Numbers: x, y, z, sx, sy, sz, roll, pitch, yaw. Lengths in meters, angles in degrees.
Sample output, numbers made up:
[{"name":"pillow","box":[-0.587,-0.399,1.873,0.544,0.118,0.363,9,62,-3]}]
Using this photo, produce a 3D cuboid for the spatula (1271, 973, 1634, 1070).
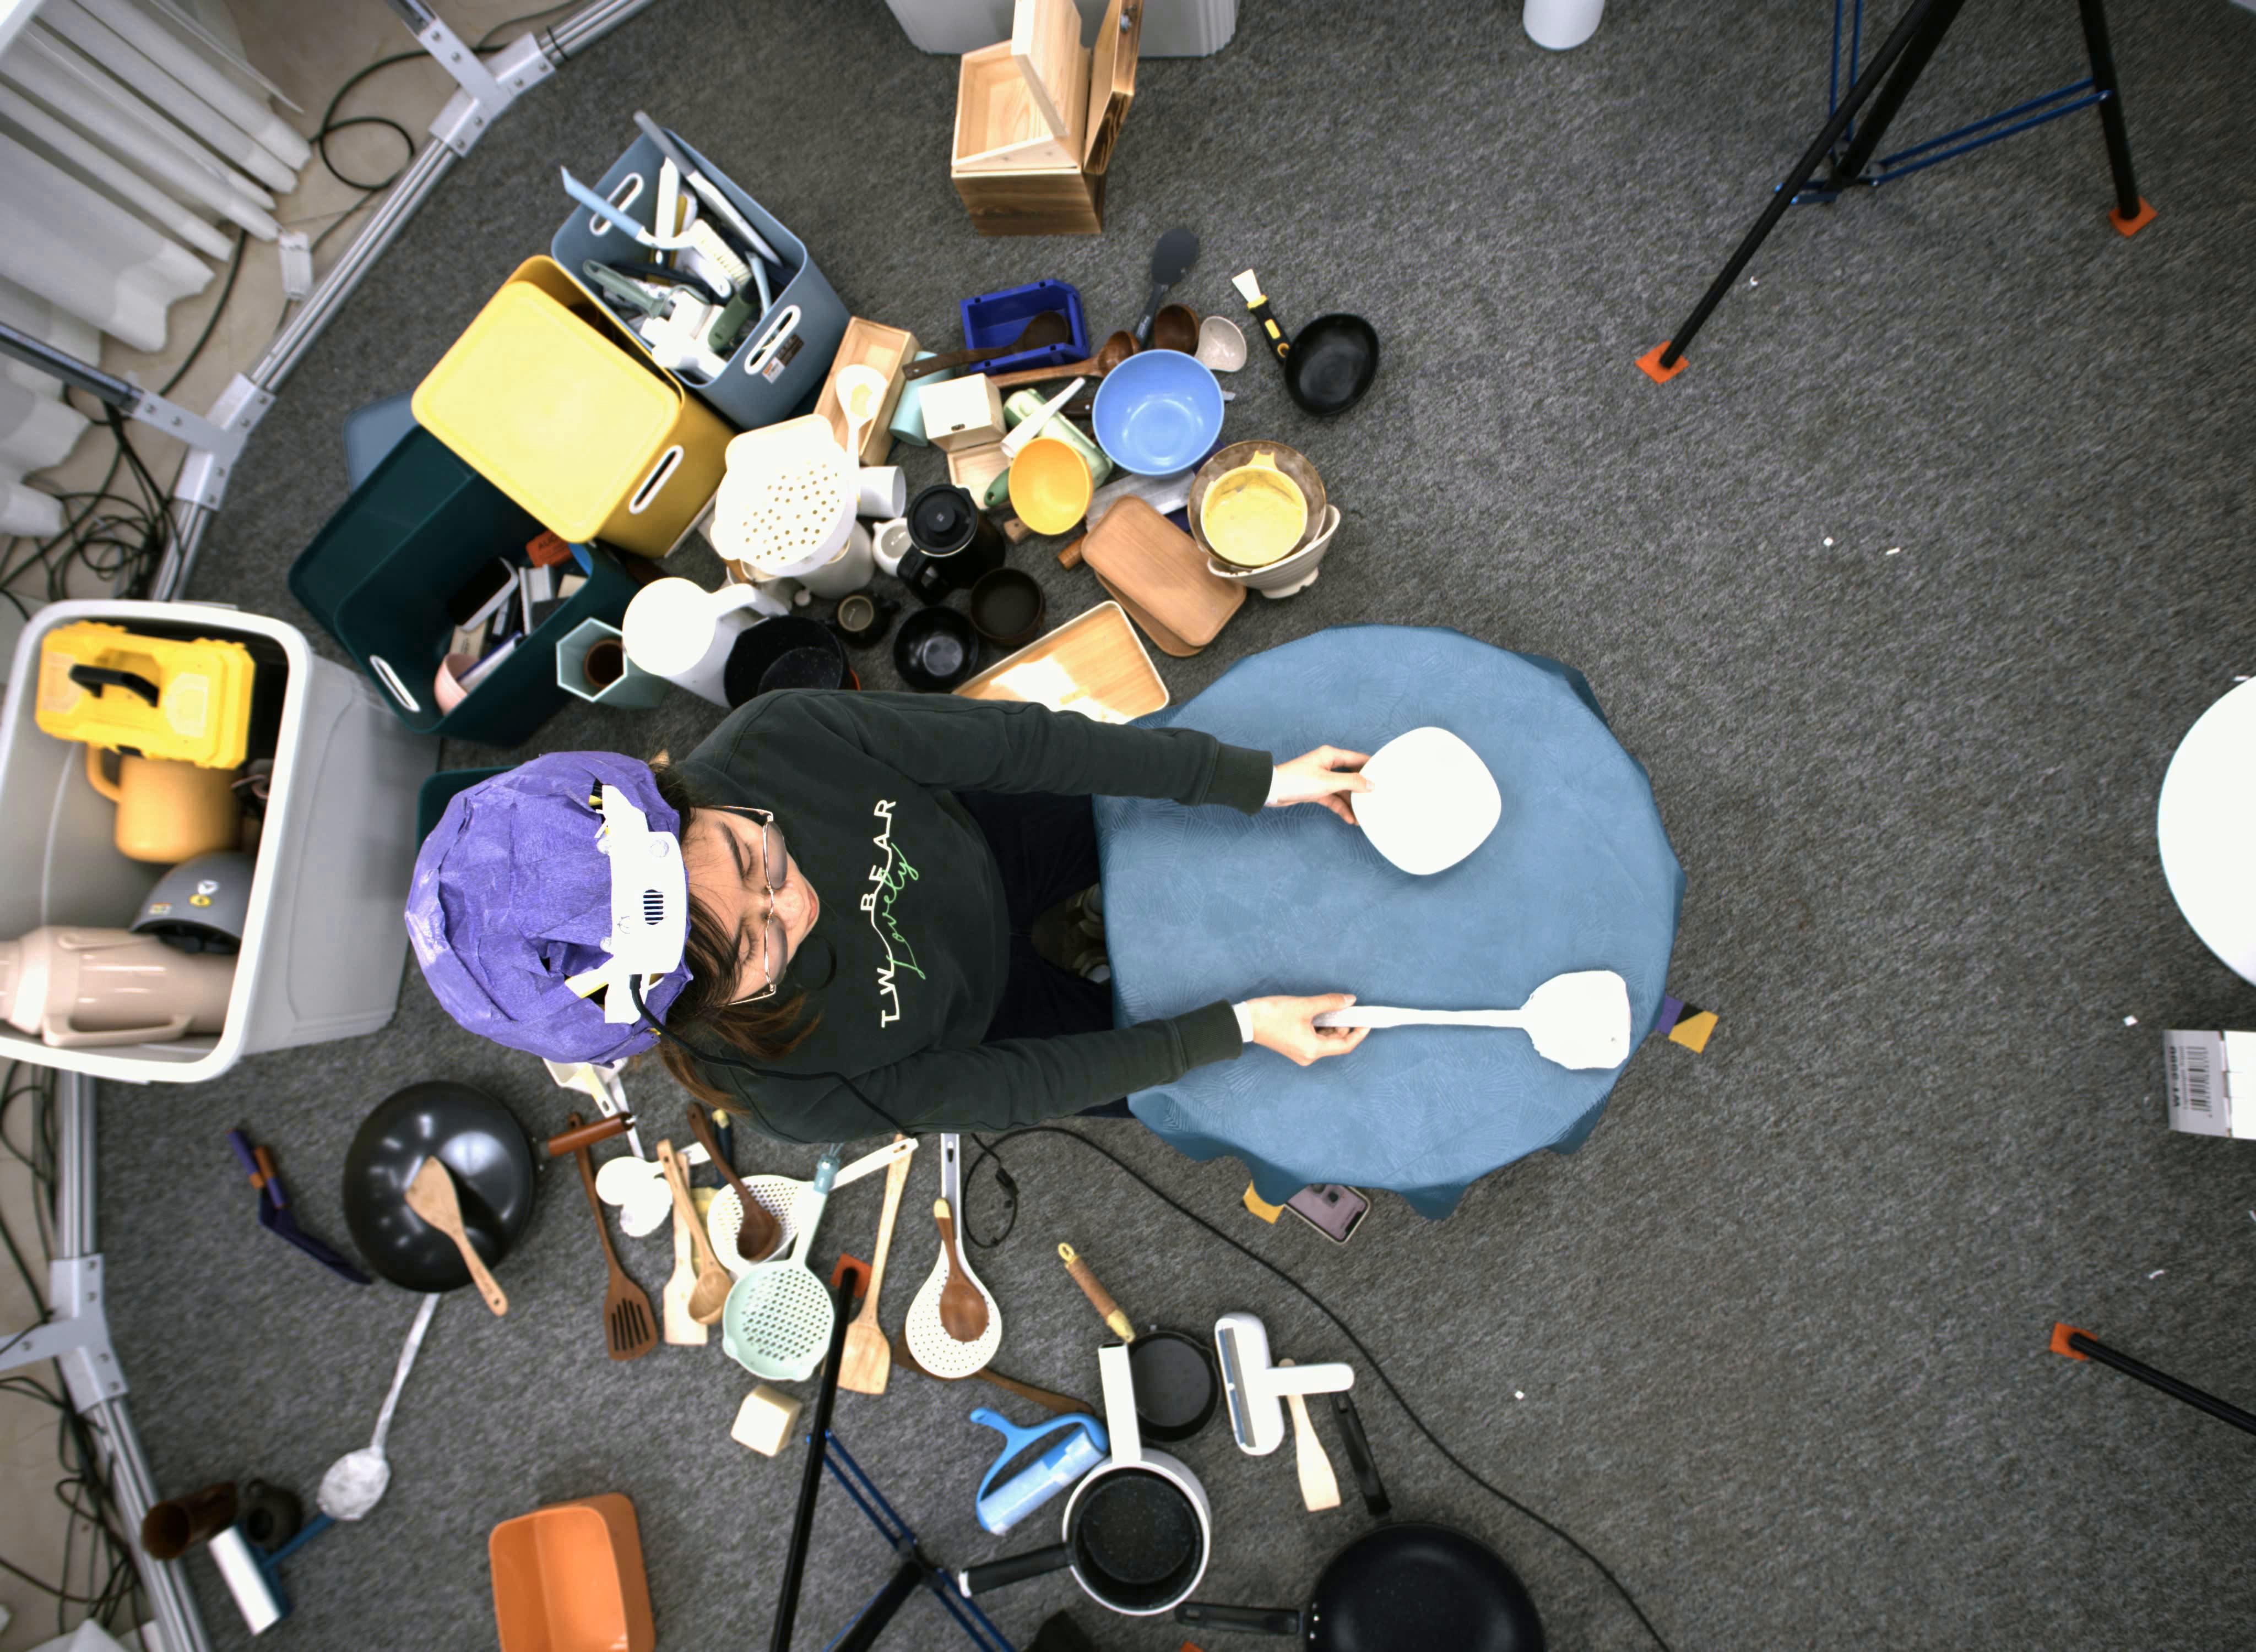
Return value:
[{"name":"spatula","box":[0.329,0.193,1.420,0.366,0.045,0.098,1,84,7]}]

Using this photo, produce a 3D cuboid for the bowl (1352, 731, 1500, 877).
[{"name":"bowl","box":[0.307,-0.022,1.434,0.152,0.059,0.151,0,86,5]}]
